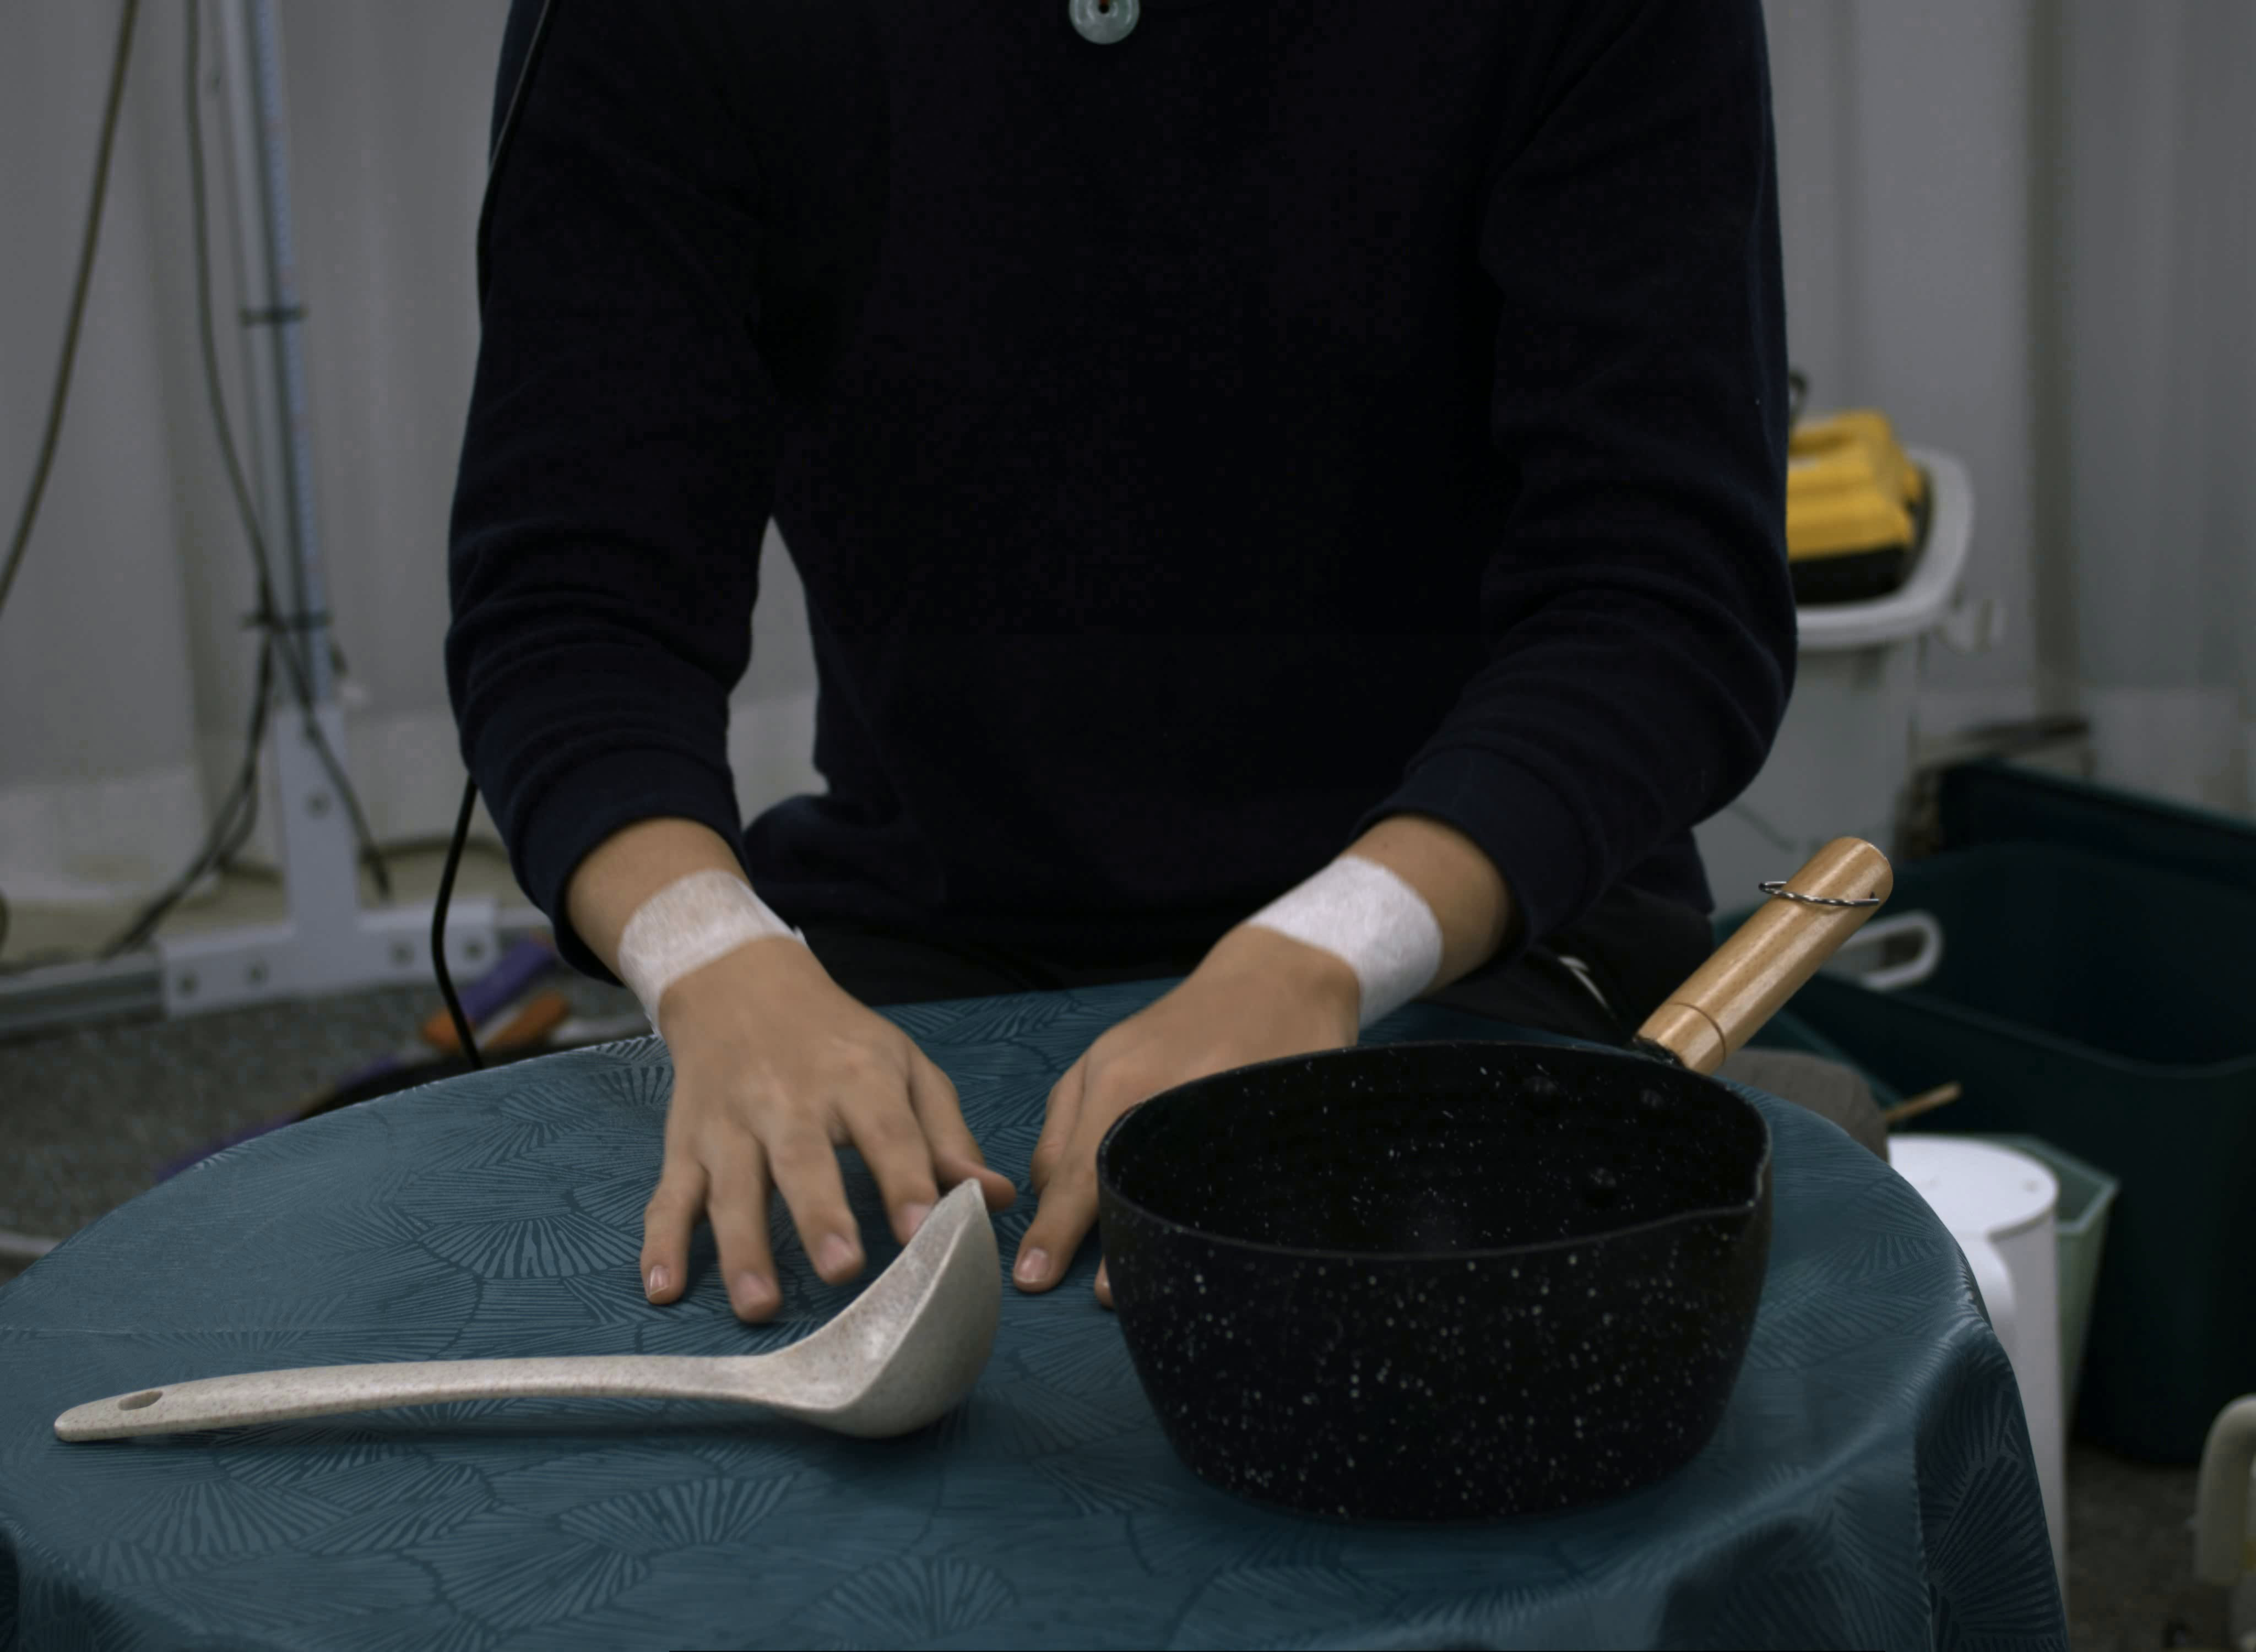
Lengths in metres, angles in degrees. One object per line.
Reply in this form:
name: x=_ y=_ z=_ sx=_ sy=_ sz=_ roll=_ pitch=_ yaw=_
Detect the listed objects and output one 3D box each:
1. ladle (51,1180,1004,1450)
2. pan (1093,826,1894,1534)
ladle: x=-0.171 y=0.139 z=1.530 sx=0.274 sy=0.069 sz=0.090 roll=-2 pitch=25 yaw=5
pan: x=0.128 y=0.095 z=1.555 sx=0.208 sy=0.108 sz=0.343 roll=6 pitch=19 yaw=34
